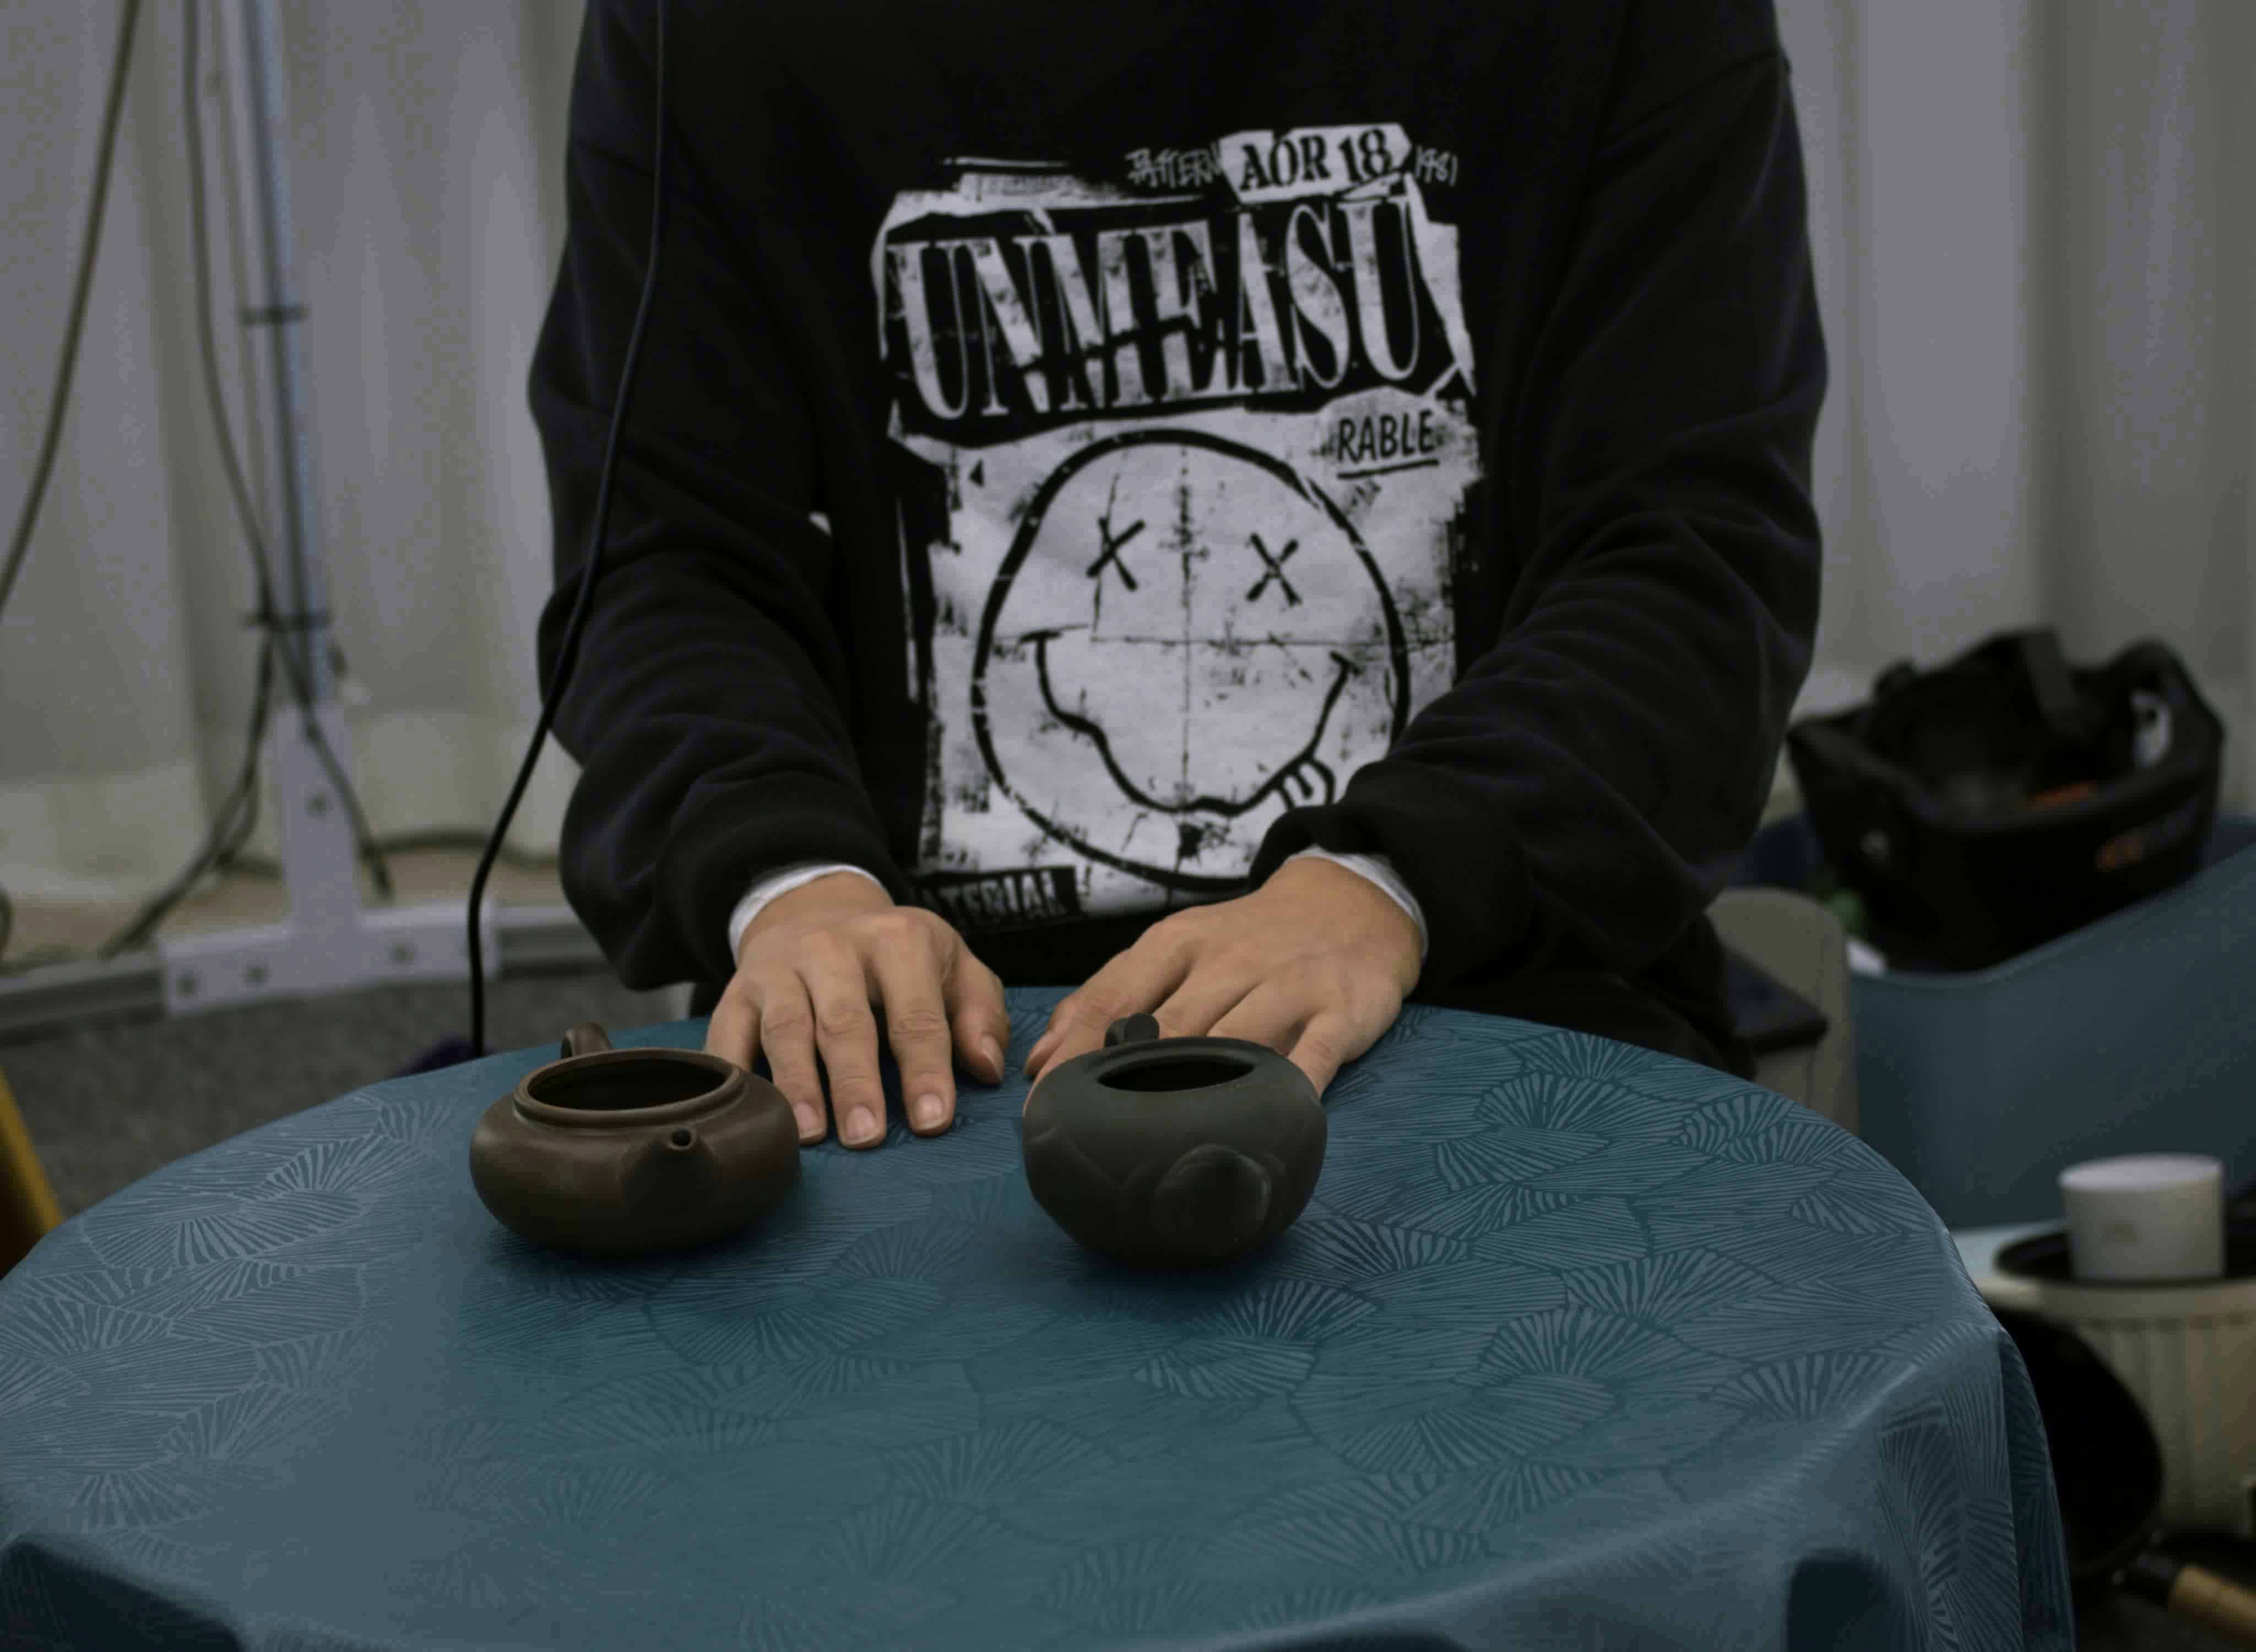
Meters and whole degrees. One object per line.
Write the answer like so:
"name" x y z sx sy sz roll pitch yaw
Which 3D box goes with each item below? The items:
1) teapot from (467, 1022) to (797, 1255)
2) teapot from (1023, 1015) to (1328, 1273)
"teapot" -0.155 0.098 1.702 0.102 0.053 0.155 -6 15 -22
"teapot" 0.014 0.097 1.657 0.092 0.064 0.155 -4 15 -11
